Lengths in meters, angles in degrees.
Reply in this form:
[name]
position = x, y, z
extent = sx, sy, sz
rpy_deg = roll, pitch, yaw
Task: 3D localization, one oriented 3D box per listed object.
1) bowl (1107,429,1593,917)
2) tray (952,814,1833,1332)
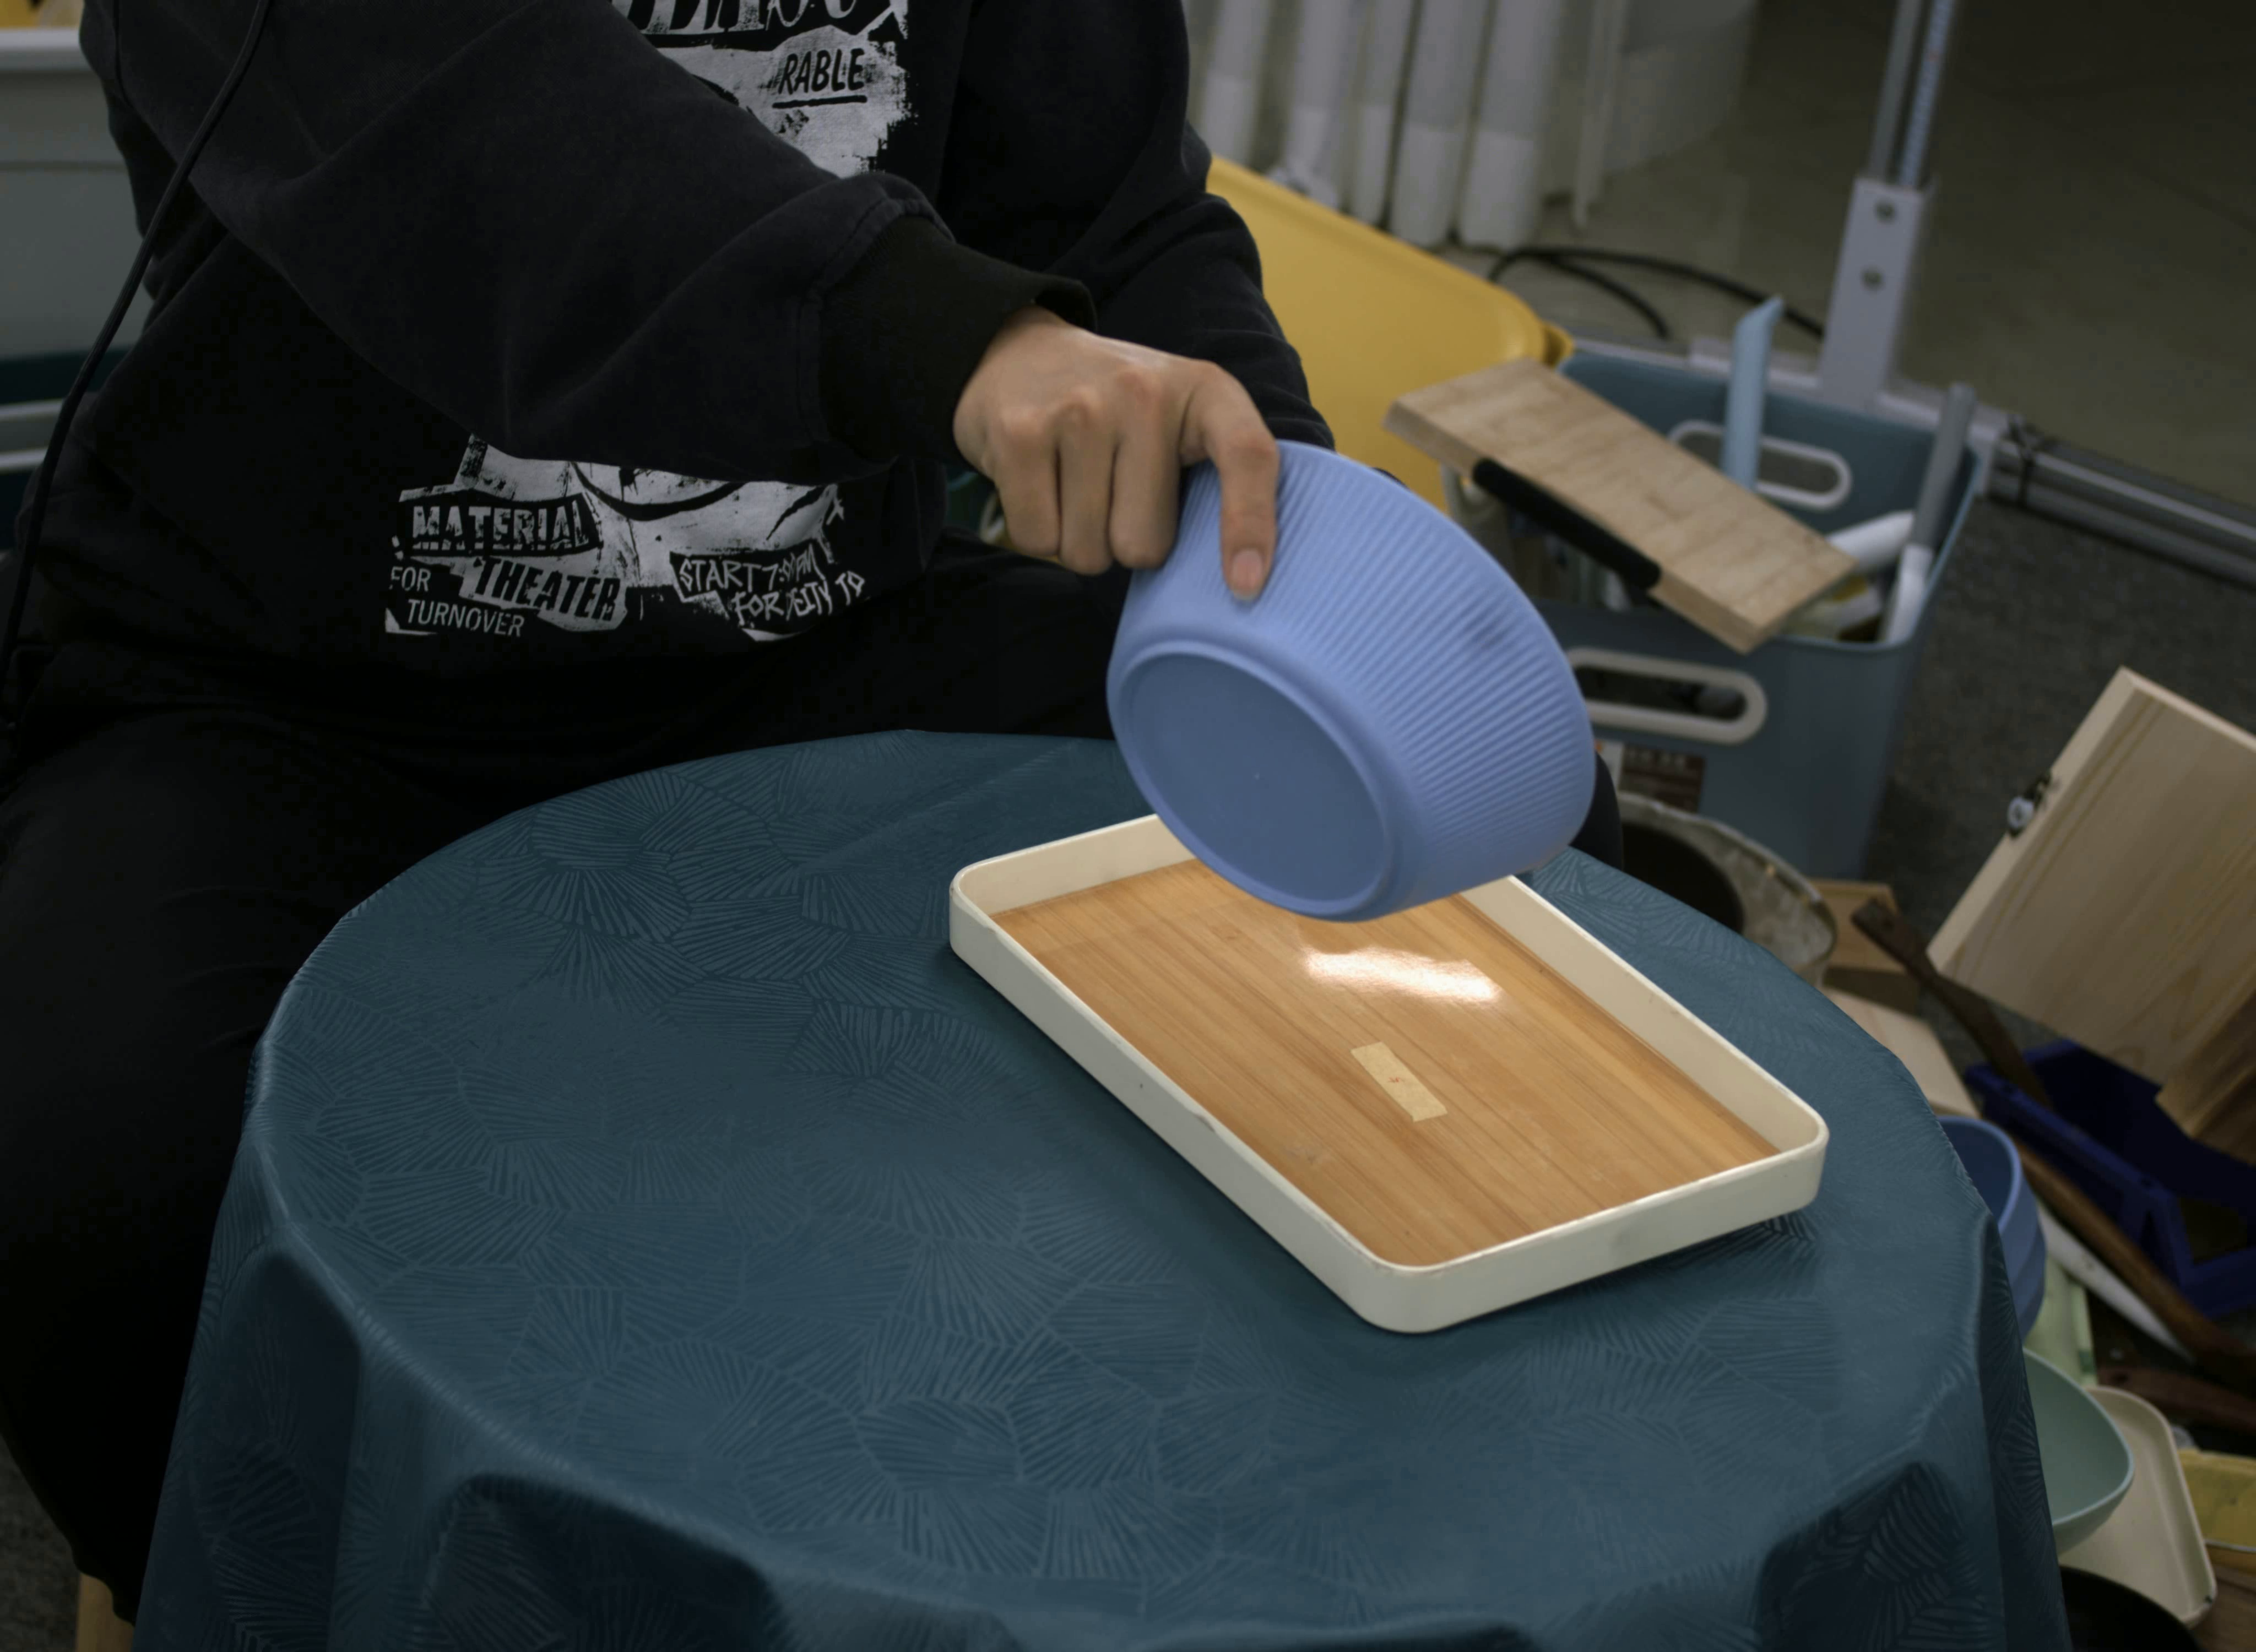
[bowl]
position = 0.058, -0.037, 1.704
extent = 0.177, 0.175, 0.070
rpy_deg = 24, 51, 30
[tray]
position = 0.087, 0.073, 1.876
extent = 0.190, 0.027, 0.303
rpy_deg = -15, 34, -29
